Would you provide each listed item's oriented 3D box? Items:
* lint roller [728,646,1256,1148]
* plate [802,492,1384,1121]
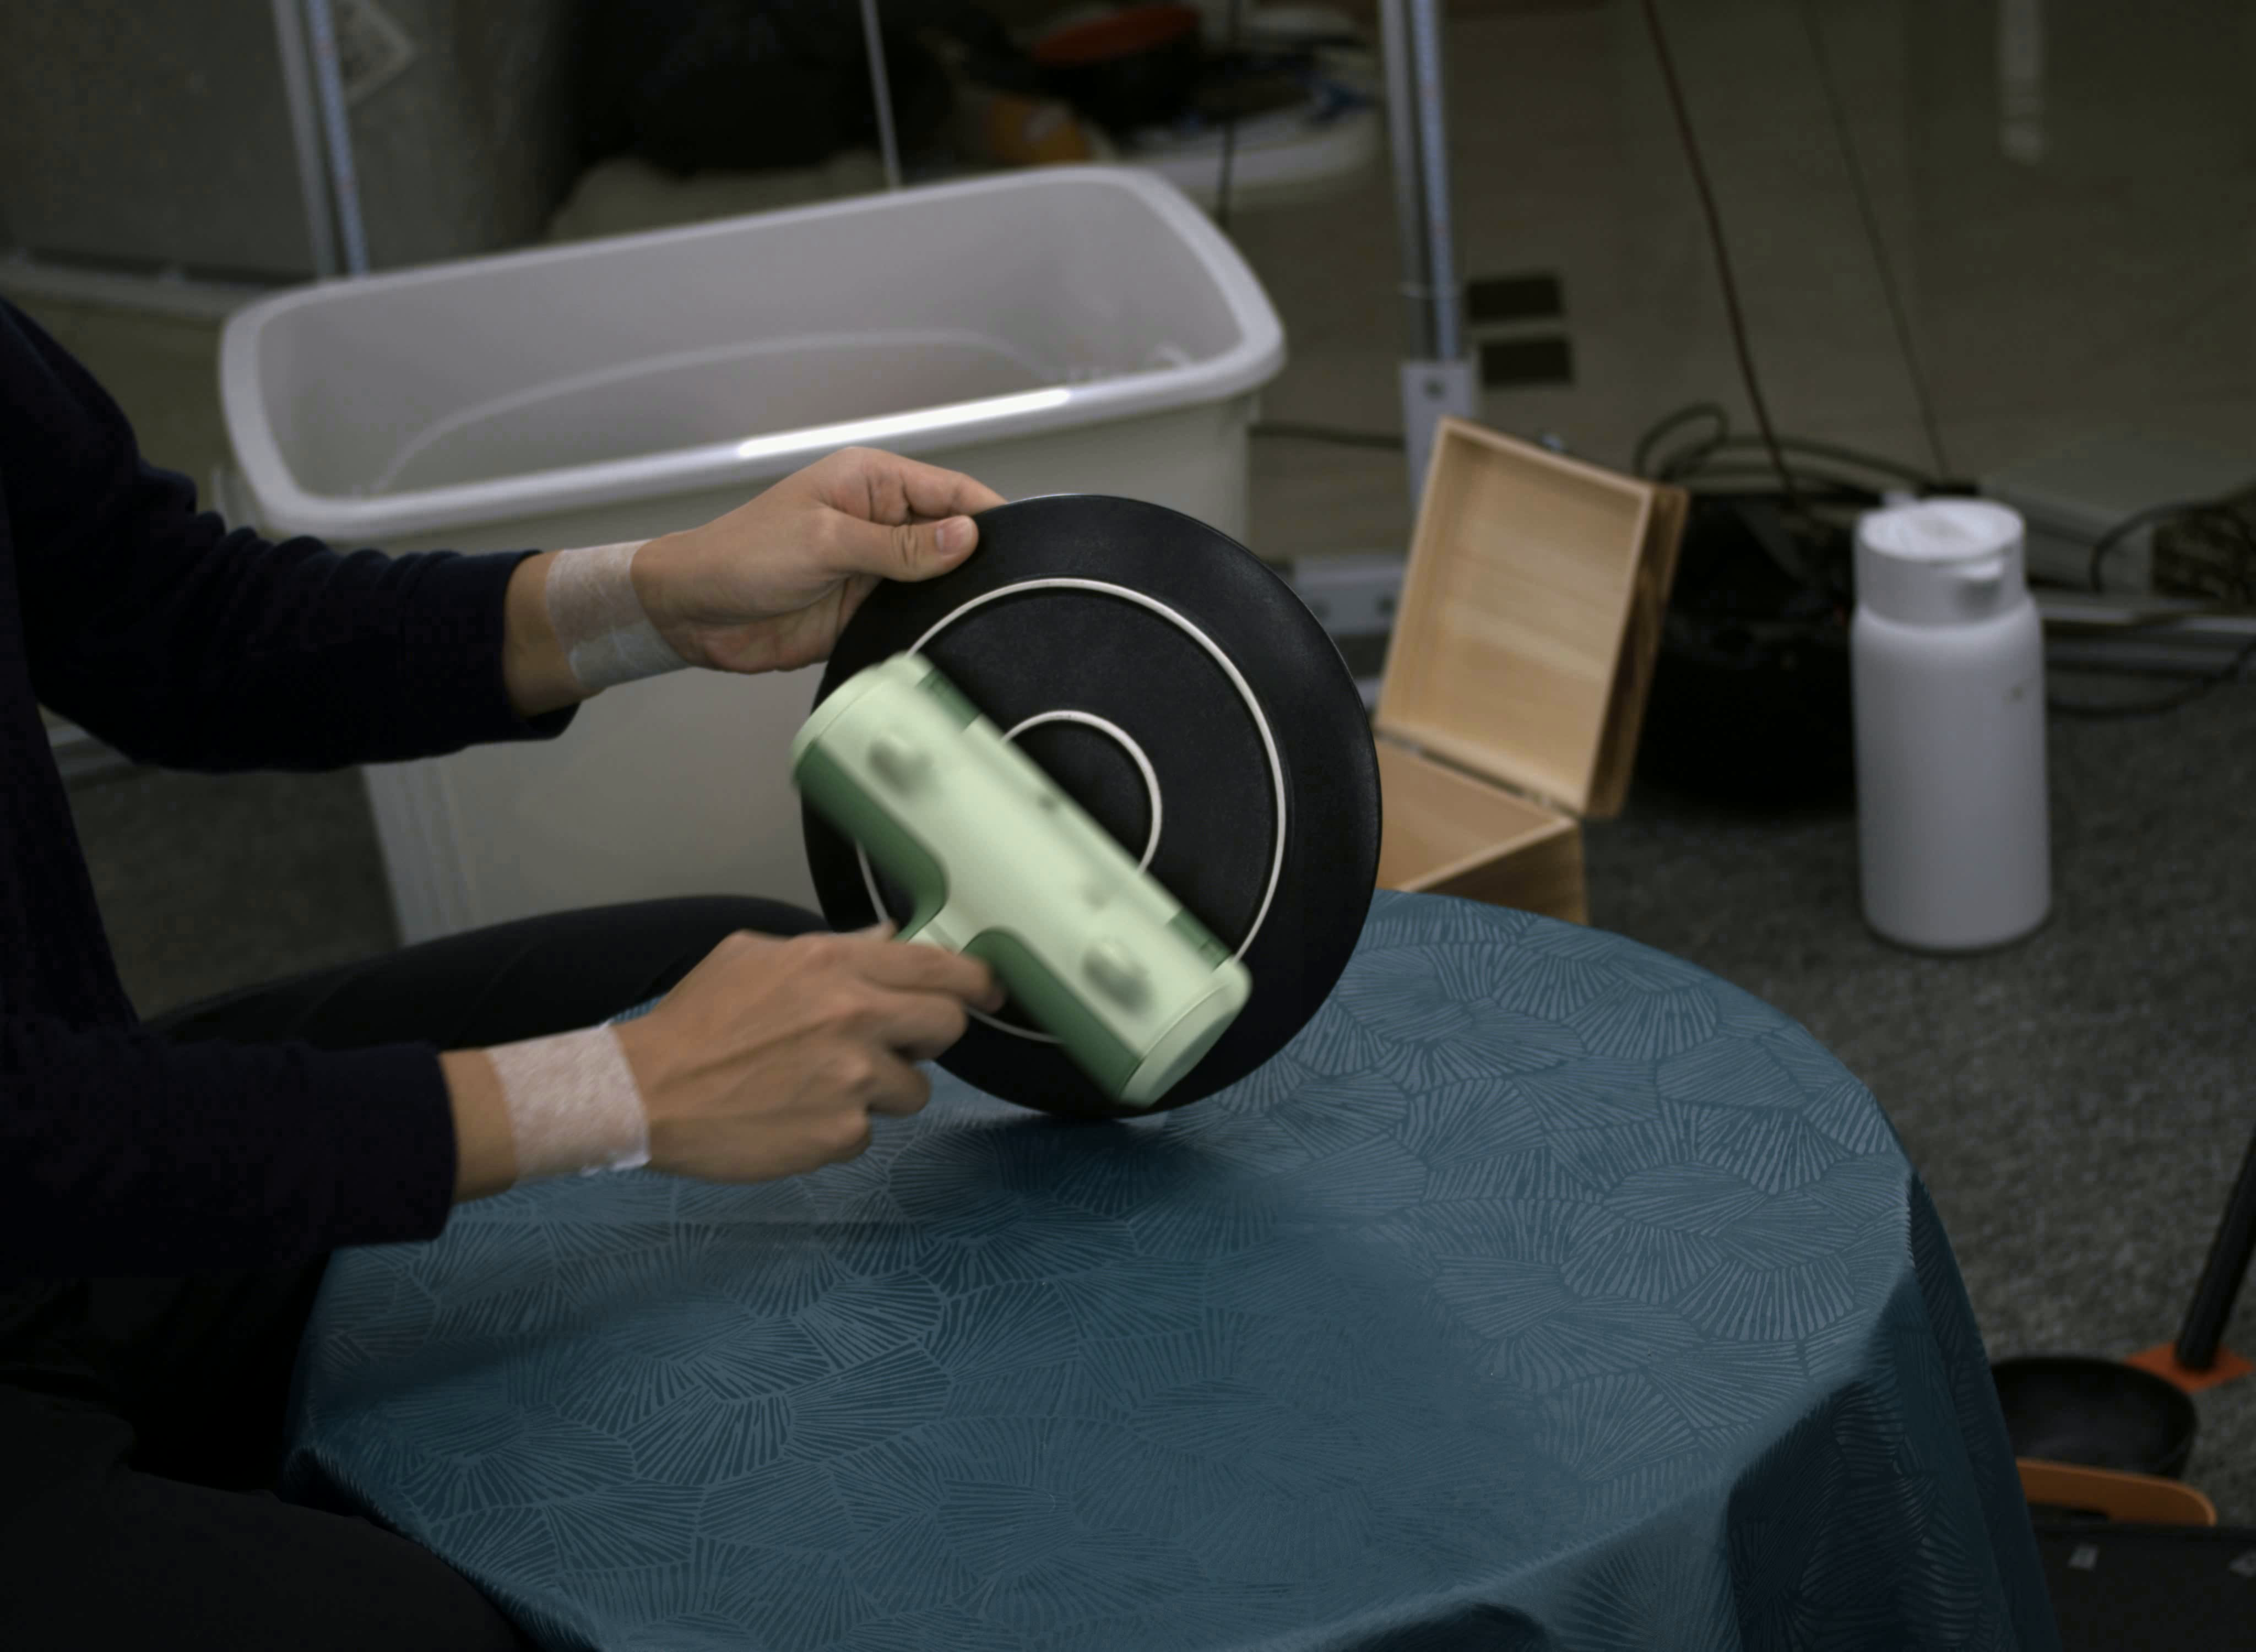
[{"bbox_3d":[-0.079,0.048,2.124,0.197,0.083,0.181,44,66,10],"label":"lint roller"},{"bbox_3d":[-0.019,-0.006,2.179,0.243,0.246,0.023,4,9,21],"label":"plate"}]
